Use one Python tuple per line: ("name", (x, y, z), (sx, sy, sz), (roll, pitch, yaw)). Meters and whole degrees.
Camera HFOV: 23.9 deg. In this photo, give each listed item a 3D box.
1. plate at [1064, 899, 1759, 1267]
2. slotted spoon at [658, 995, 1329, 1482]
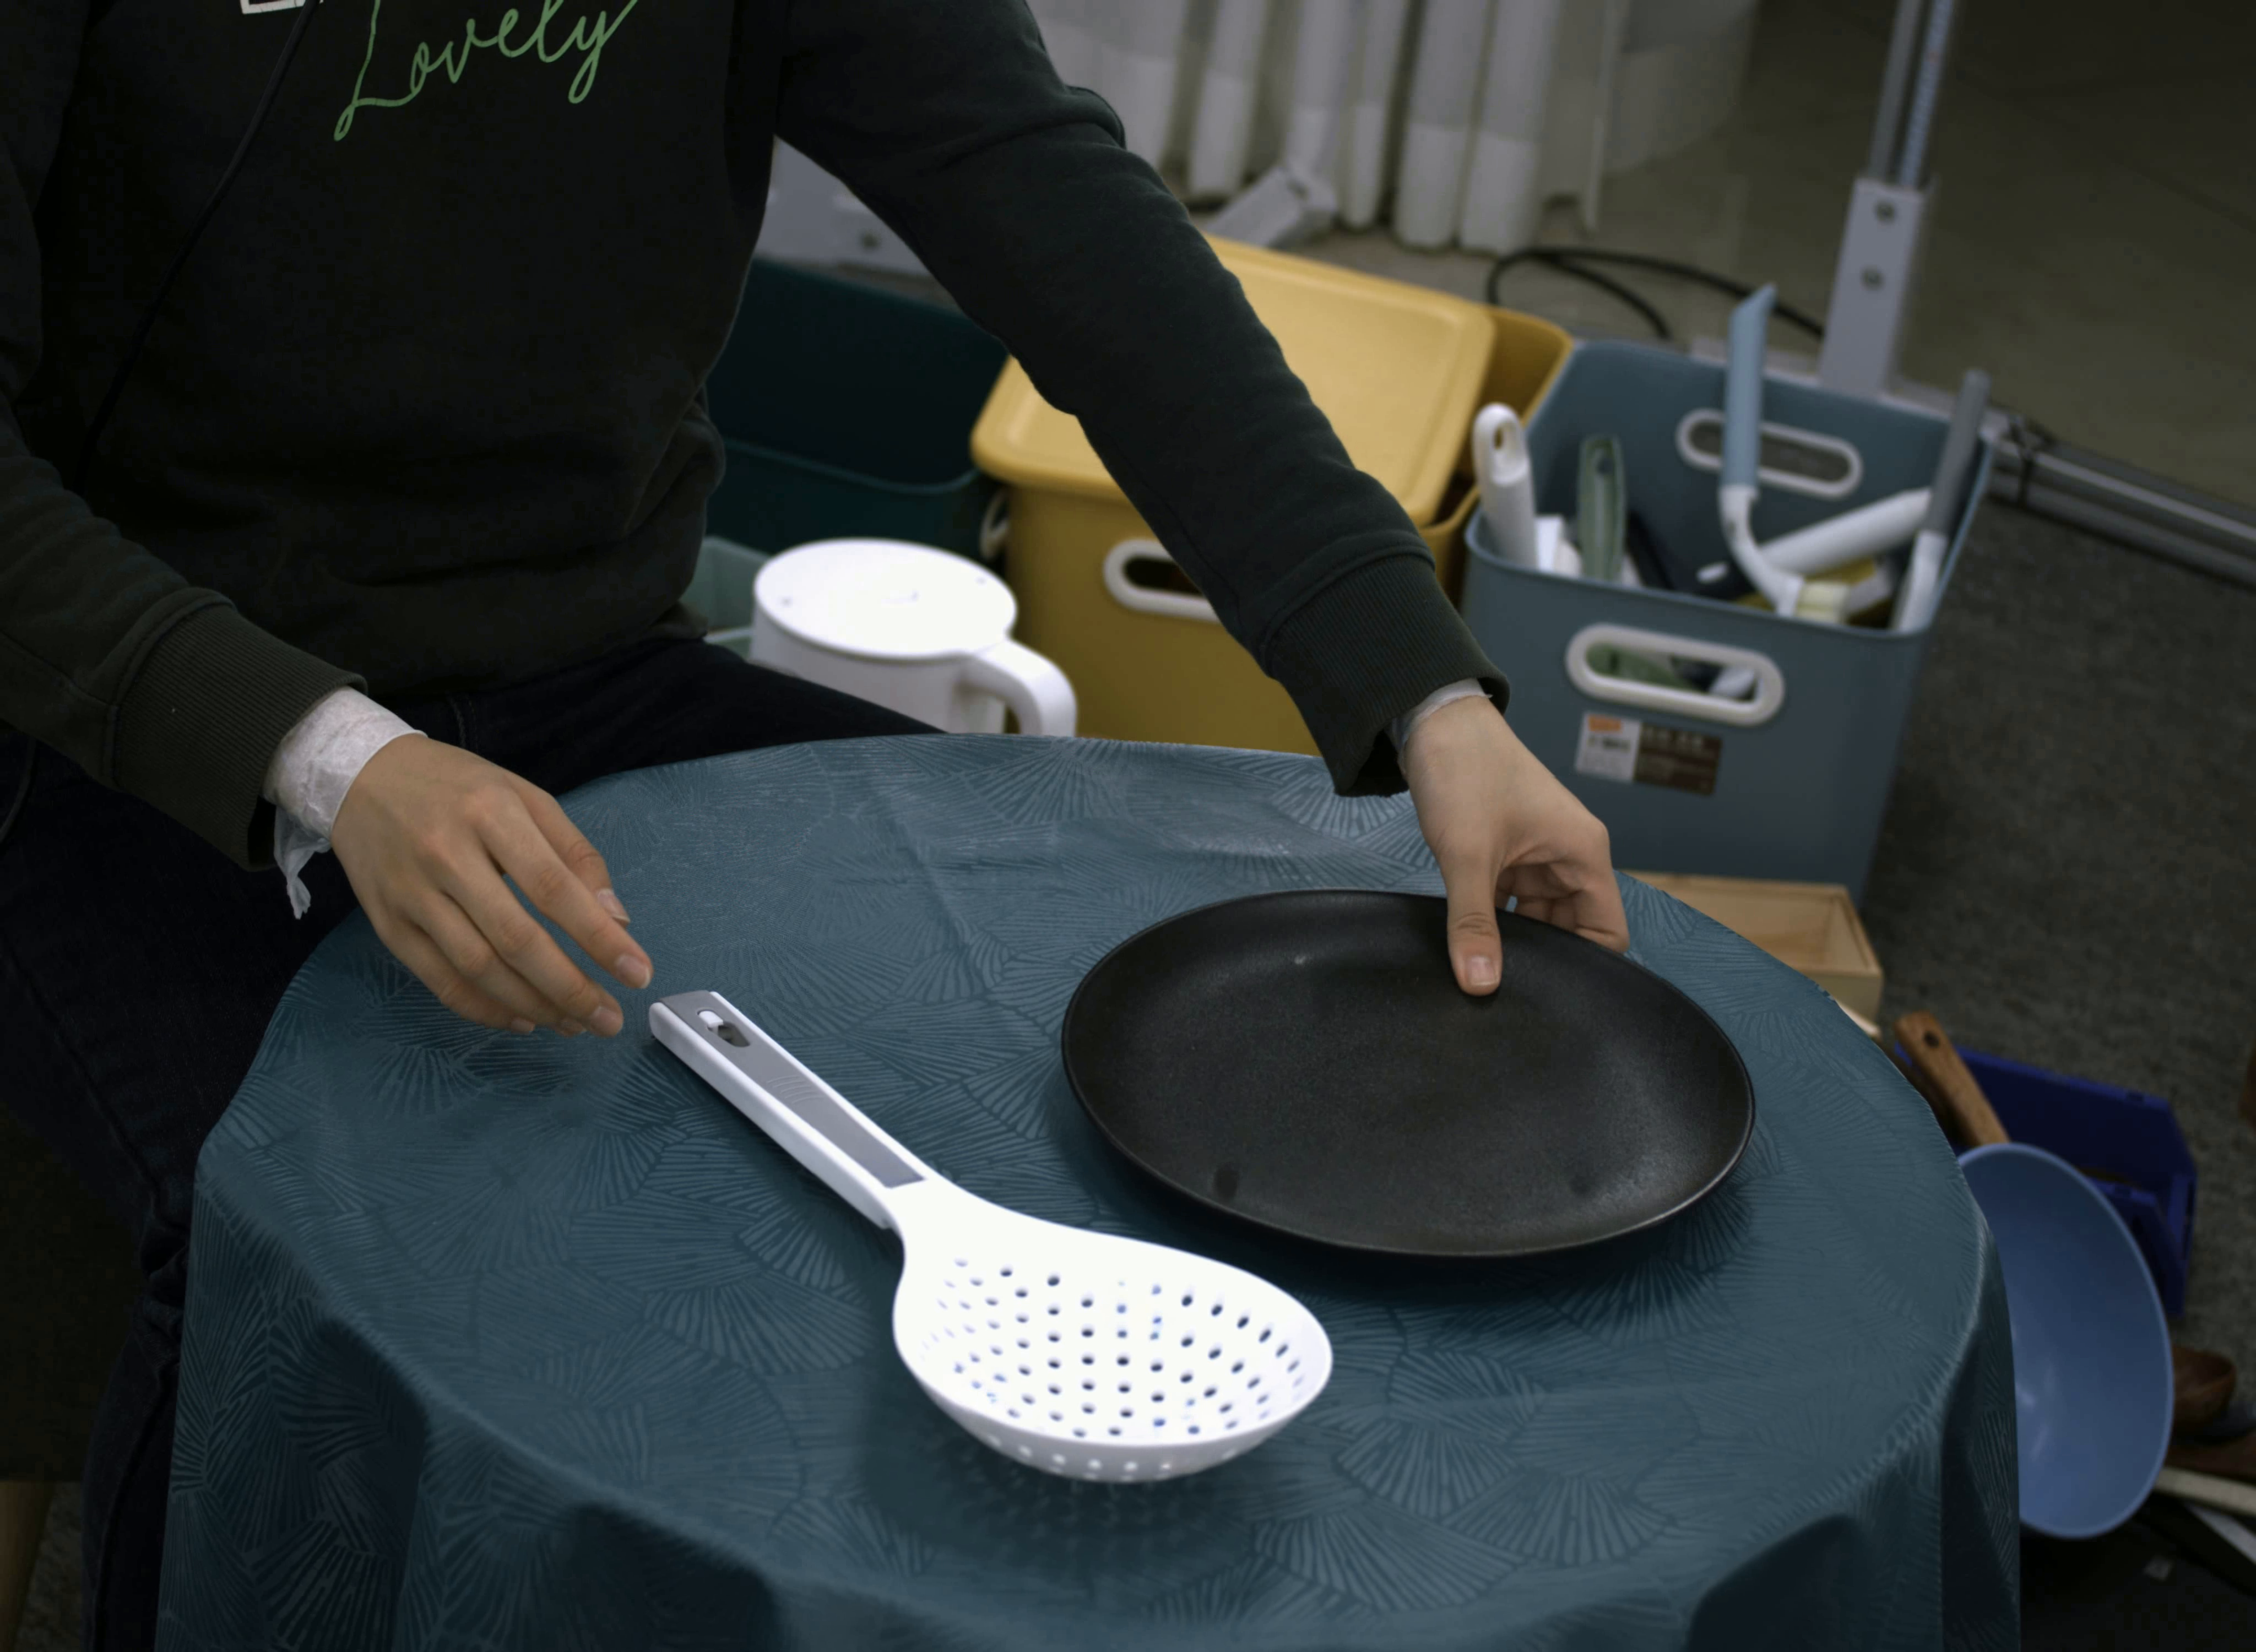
("plate", (0.097, 0.093, 1.852), (0.243, 0.023, 0.246), (4, 28, -3))
("slotted spoon", (-0.063, 0.127, 1.728), (0.135, 0.045, 0.353), (-8, 29, -31))
